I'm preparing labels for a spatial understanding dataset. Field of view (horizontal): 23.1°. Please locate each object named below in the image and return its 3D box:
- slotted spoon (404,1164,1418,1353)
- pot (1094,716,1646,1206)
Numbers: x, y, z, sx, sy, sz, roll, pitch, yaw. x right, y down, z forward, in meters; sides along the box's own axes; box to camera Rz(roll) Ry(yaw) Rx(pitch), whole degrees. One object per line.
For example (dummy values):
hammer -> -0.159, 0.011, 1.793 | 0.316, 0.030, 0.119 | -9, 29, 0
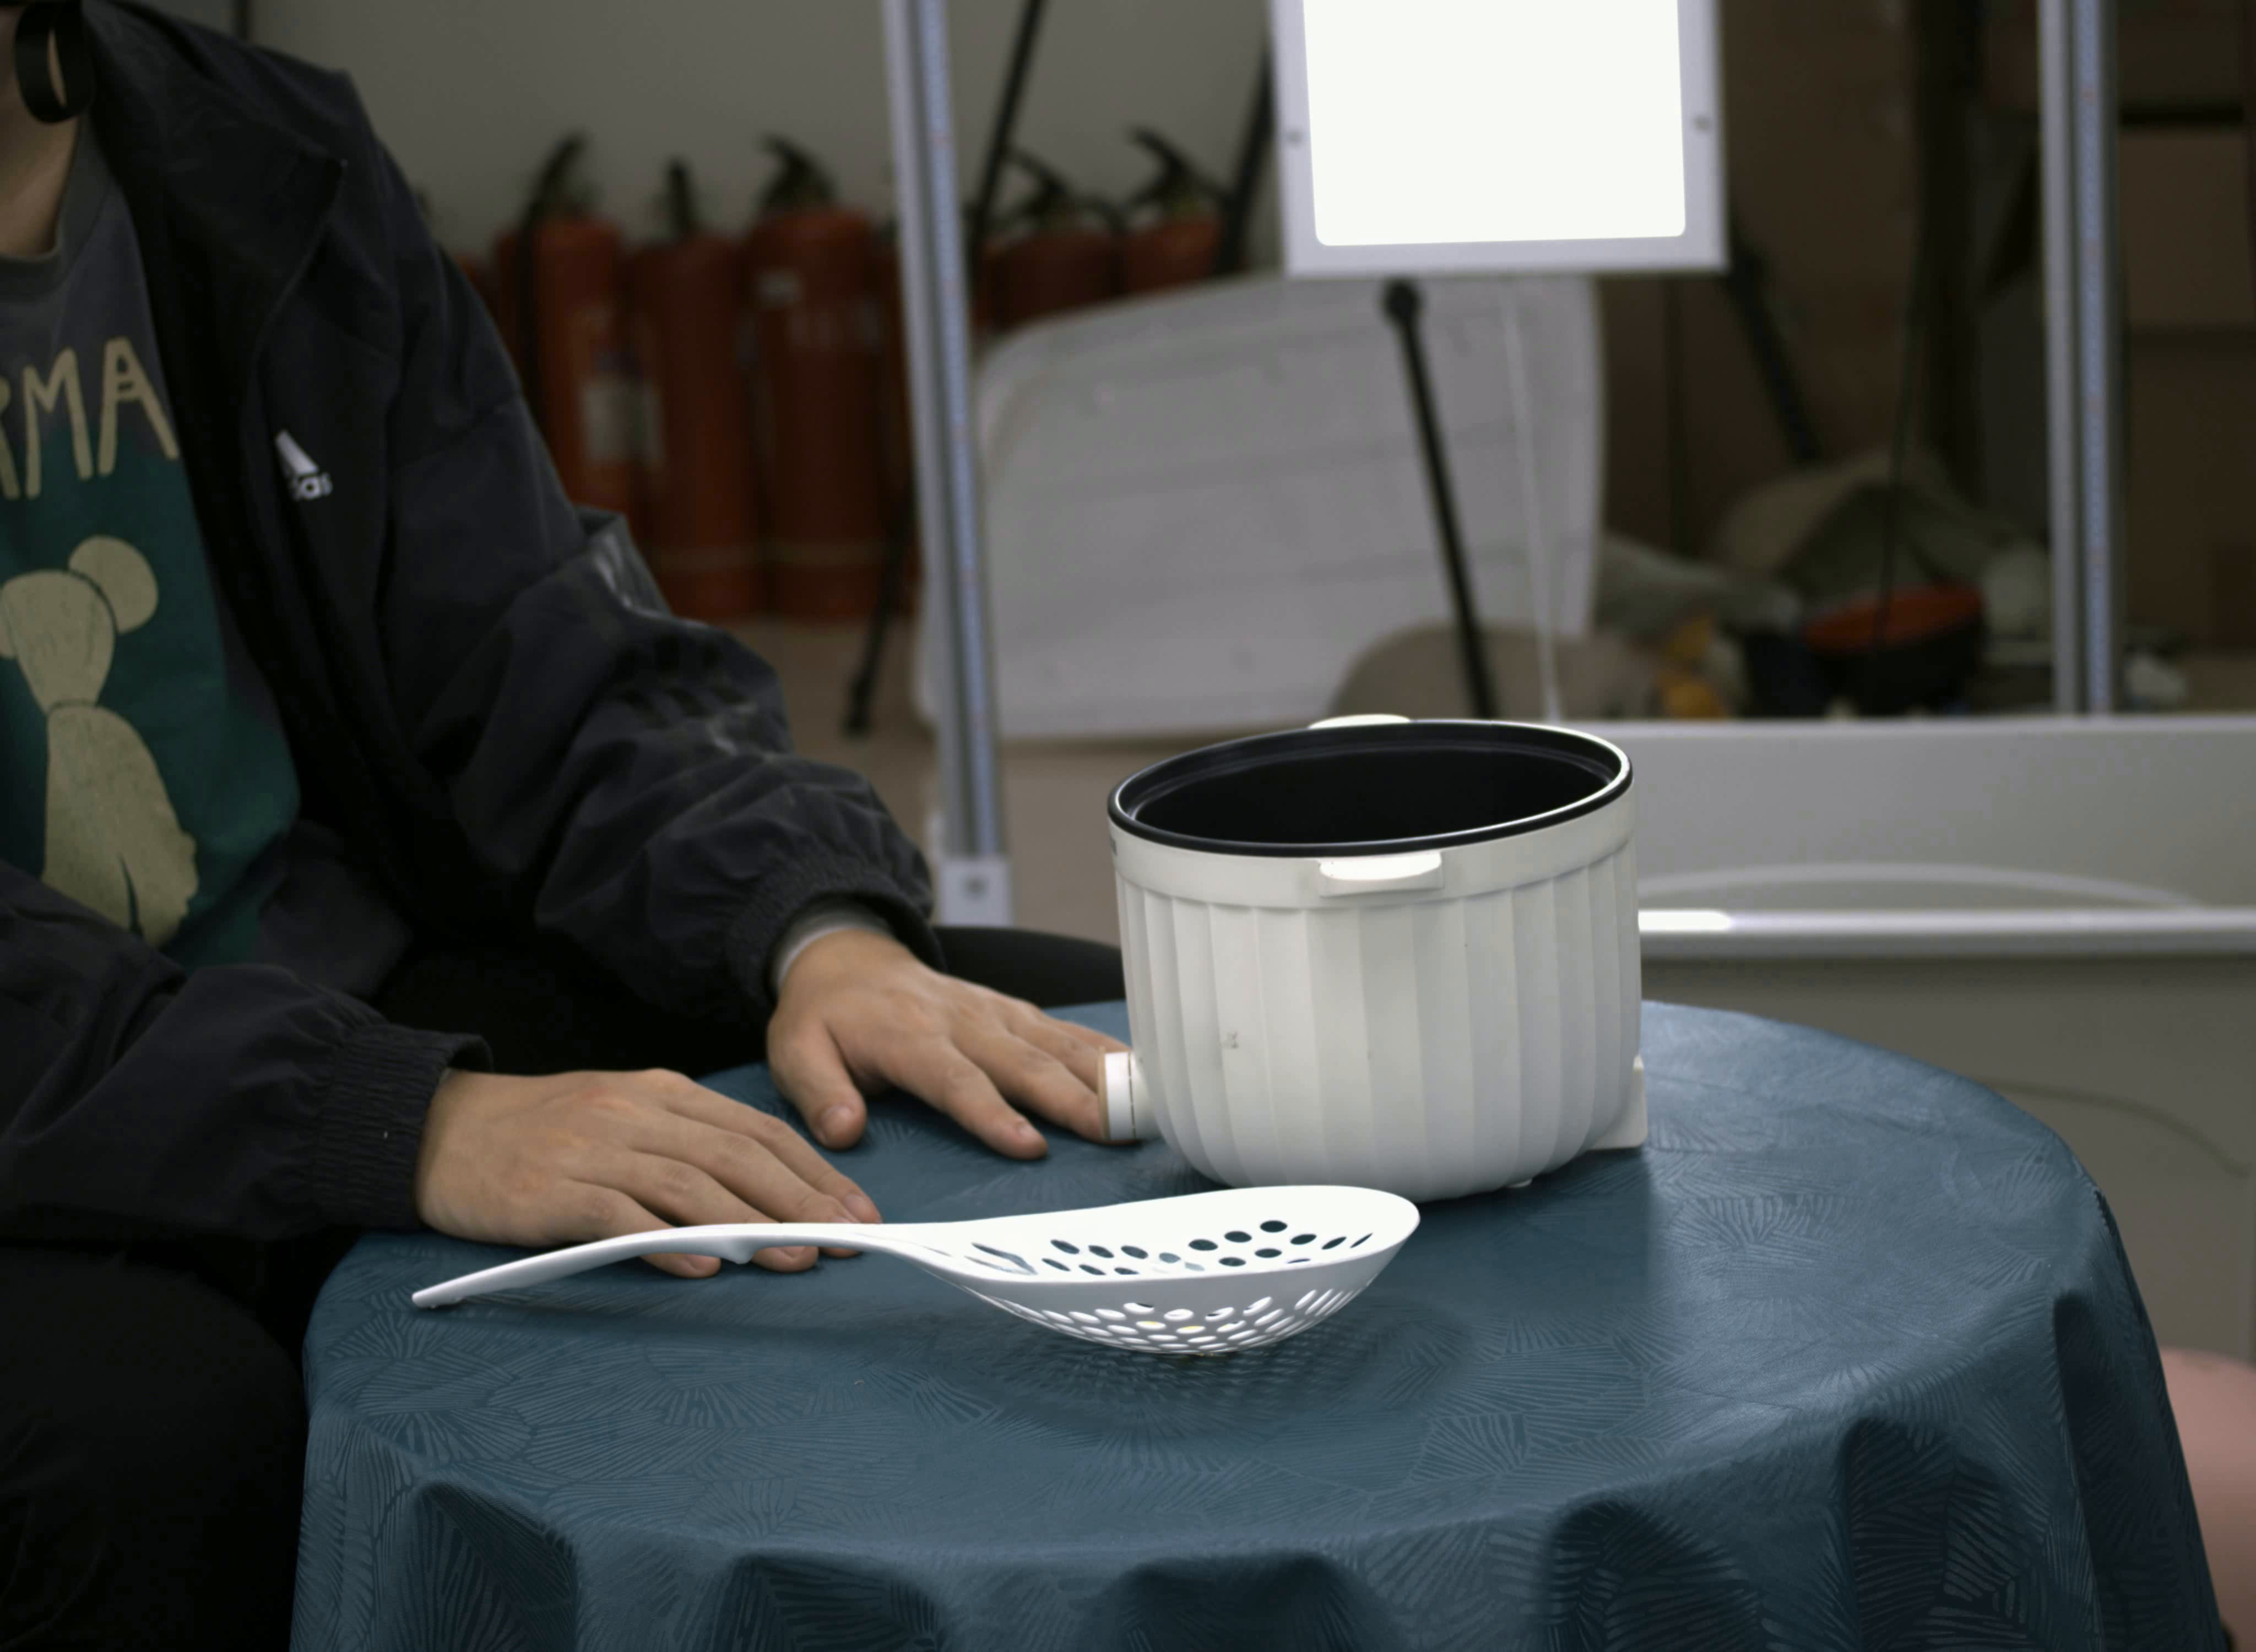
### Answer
slotted spoon -> -0.076, 0.142, 1.773 | 0.353, 0.050, 0.134 | 1, 10, 23
pot -> 0.082, 0.049, 1.893 | 0.190, 0.143, 0.239 | -2, 12, 1
